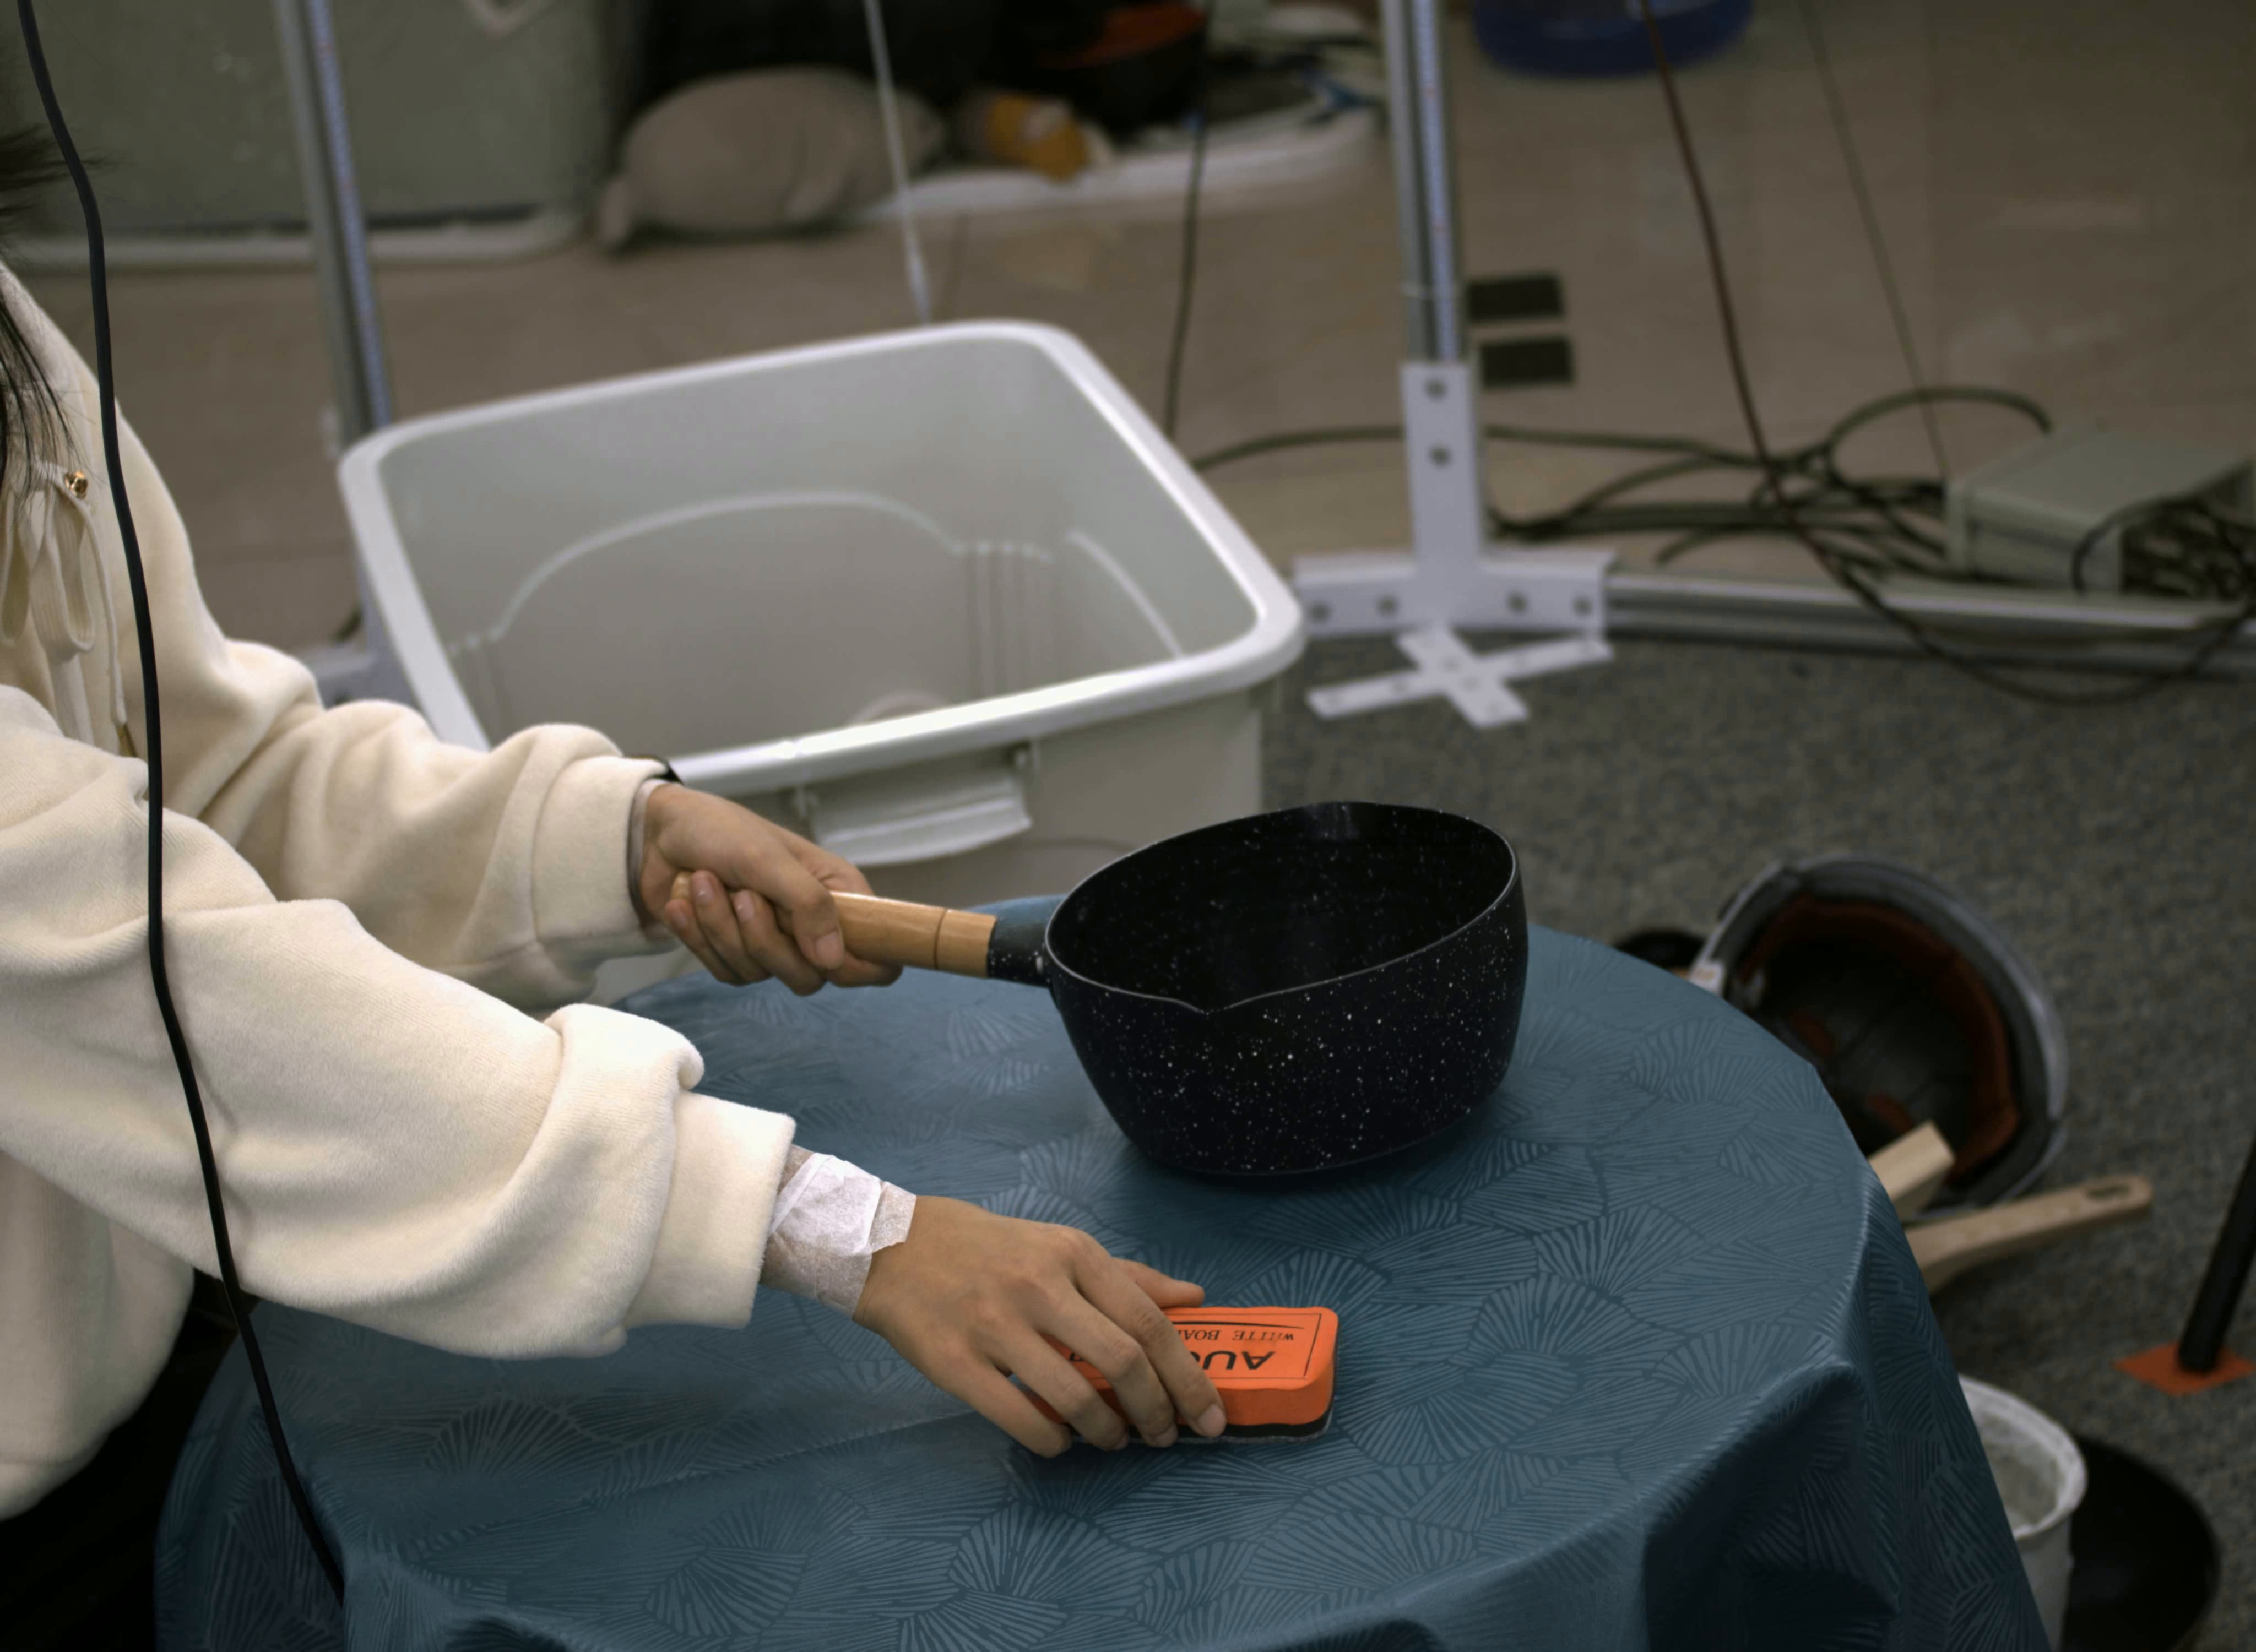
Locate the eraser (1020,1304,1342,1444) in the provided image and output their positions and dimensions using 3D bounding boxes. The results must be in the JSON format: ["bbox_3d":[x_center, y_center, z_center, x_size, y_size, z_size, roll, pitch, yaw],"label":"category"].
[{"bbox_3d":[0.019,0.193,2.000,0.108,0.023,0.058,-1,27,13],"label":"eraser"}]

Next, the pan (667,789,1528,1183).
[{"bbox_3d":[-0.013,0.059,2.192,0.342,0.110,0.204,-2,24,17],"label":"pan"}]
